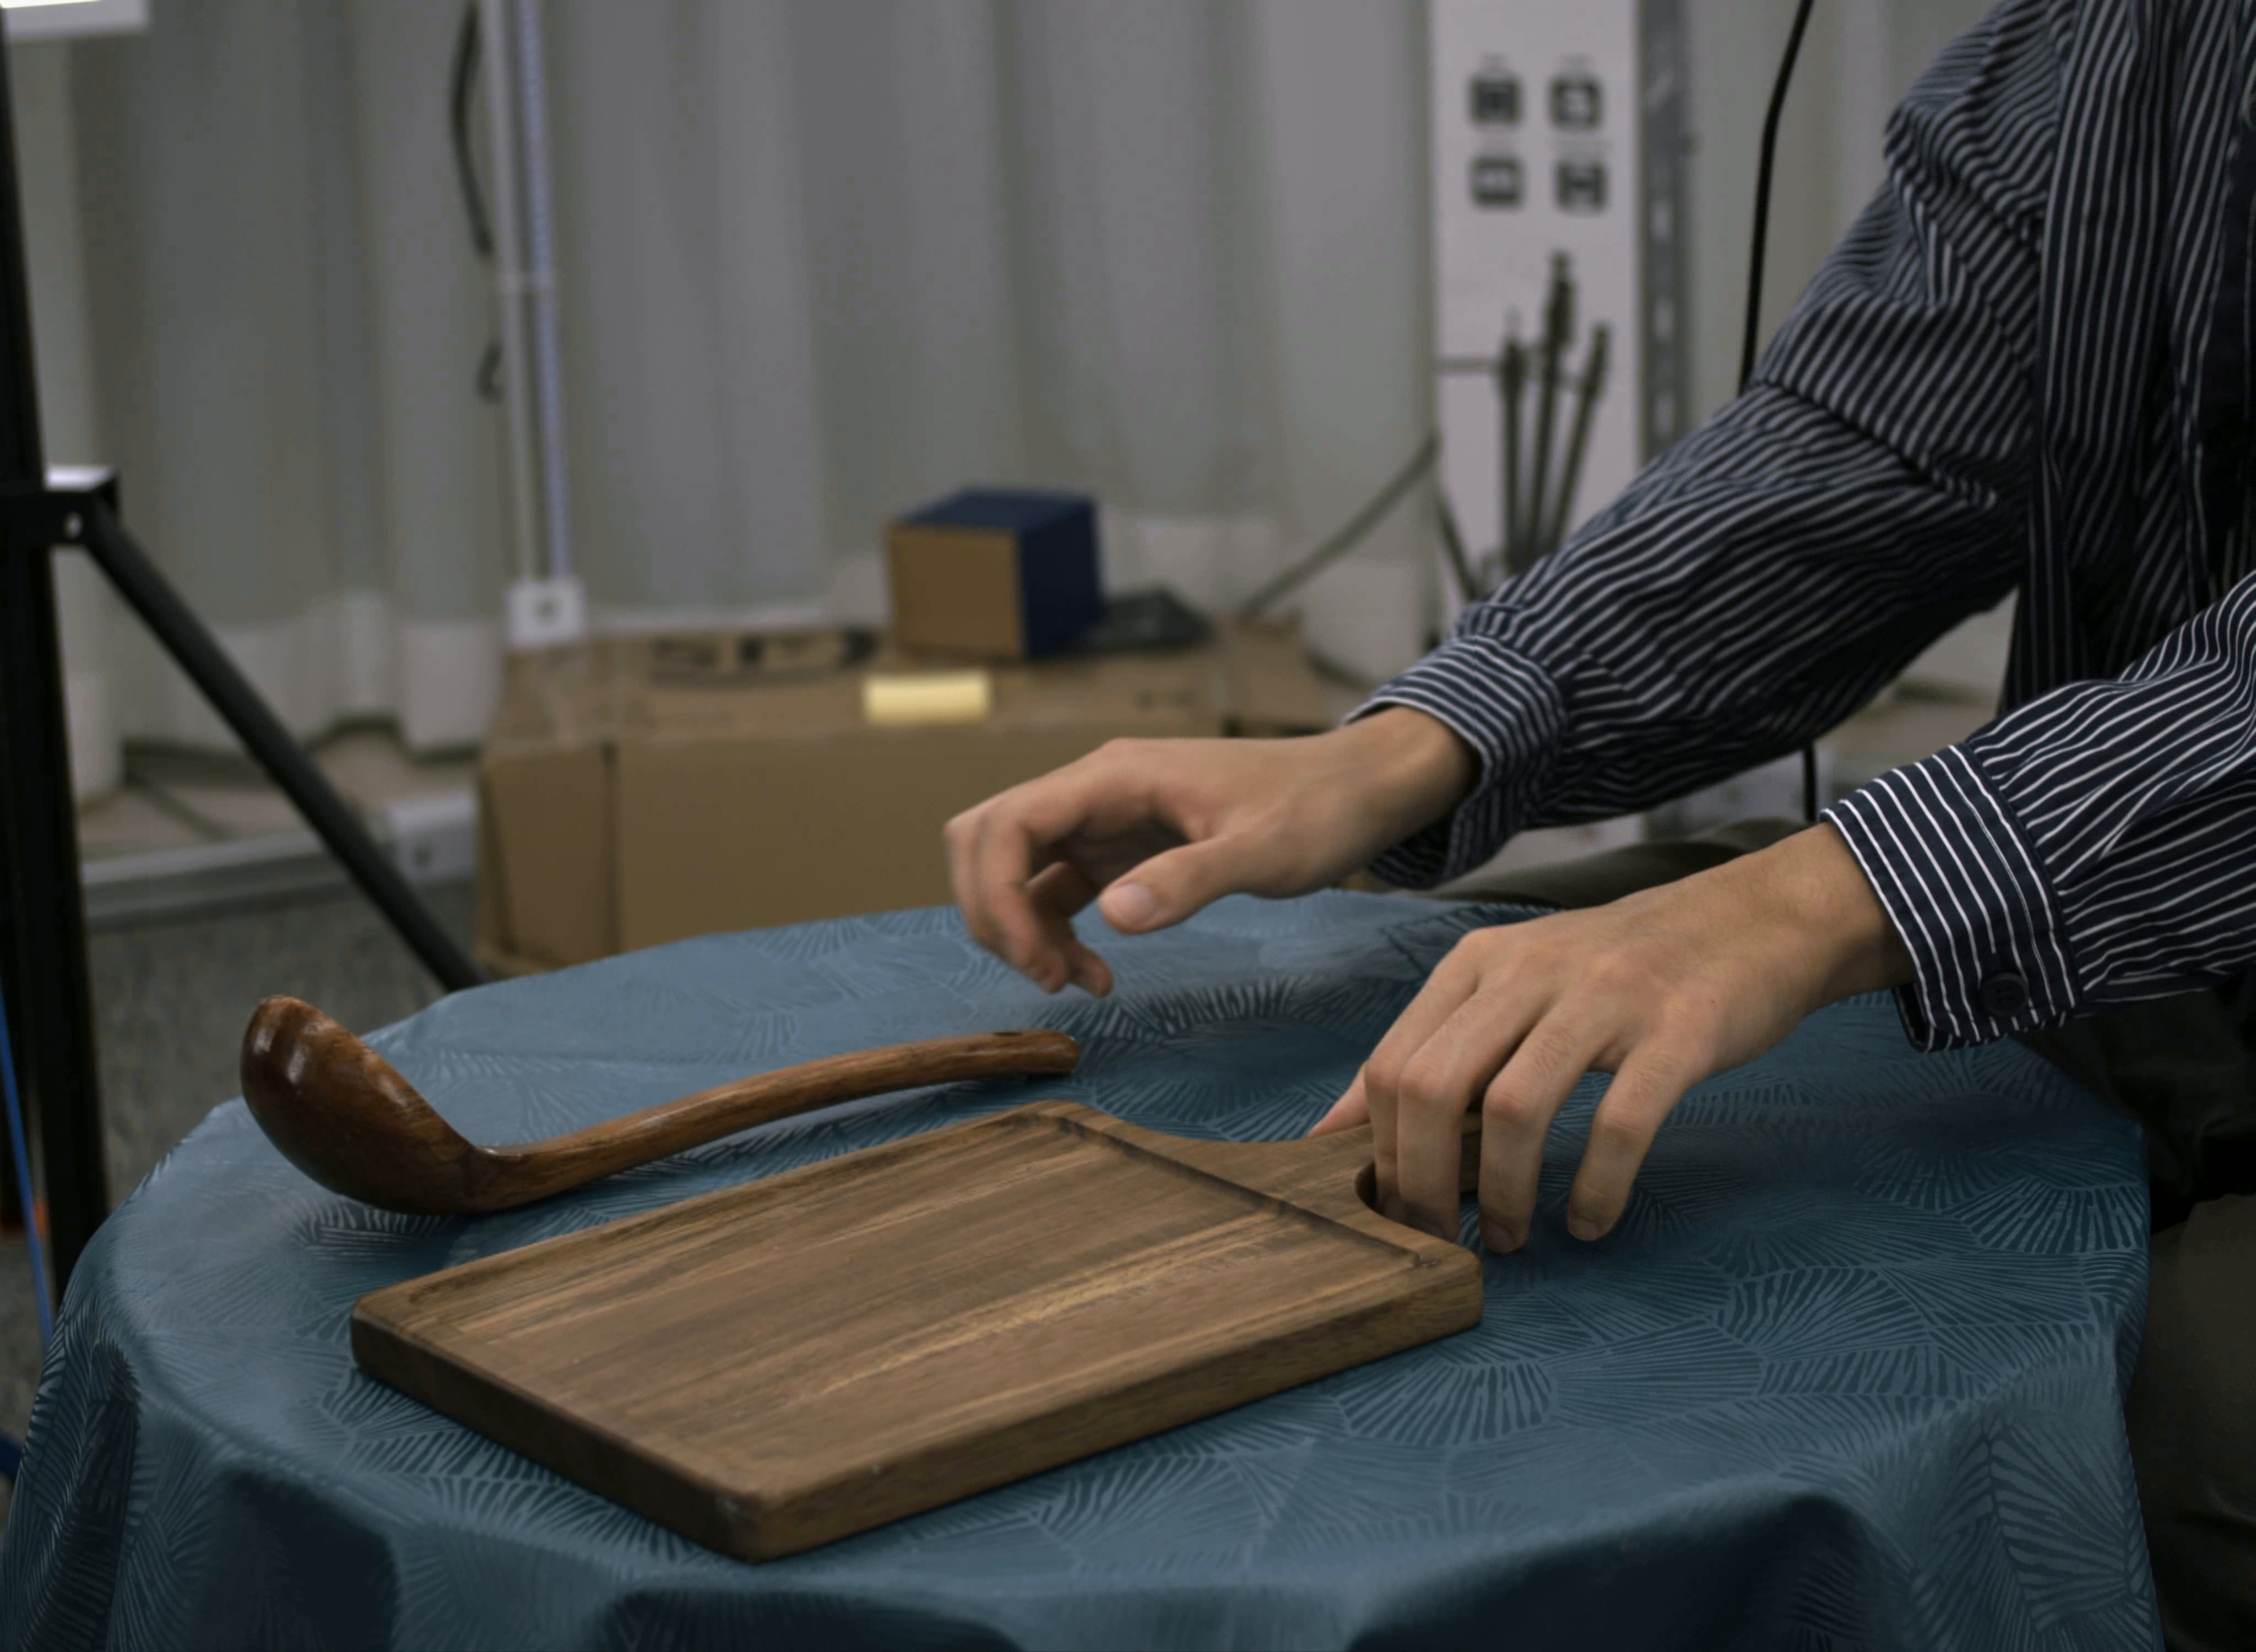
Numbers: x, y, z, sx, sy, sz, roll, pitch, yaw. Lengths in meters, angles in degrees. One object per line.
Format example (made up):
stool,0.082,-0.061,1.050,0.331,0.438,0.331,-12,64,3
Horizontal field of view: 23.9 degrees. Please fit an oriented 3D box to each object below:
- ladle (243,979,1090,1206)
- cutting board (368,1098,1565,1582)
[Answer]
ladle,-0.135,0.061,1.607,0.268,0.076,0.083,-12,14,-28
cutting board,-0.012,0.125,1.467,0.344,0.023,0.206,-14,19,-34
